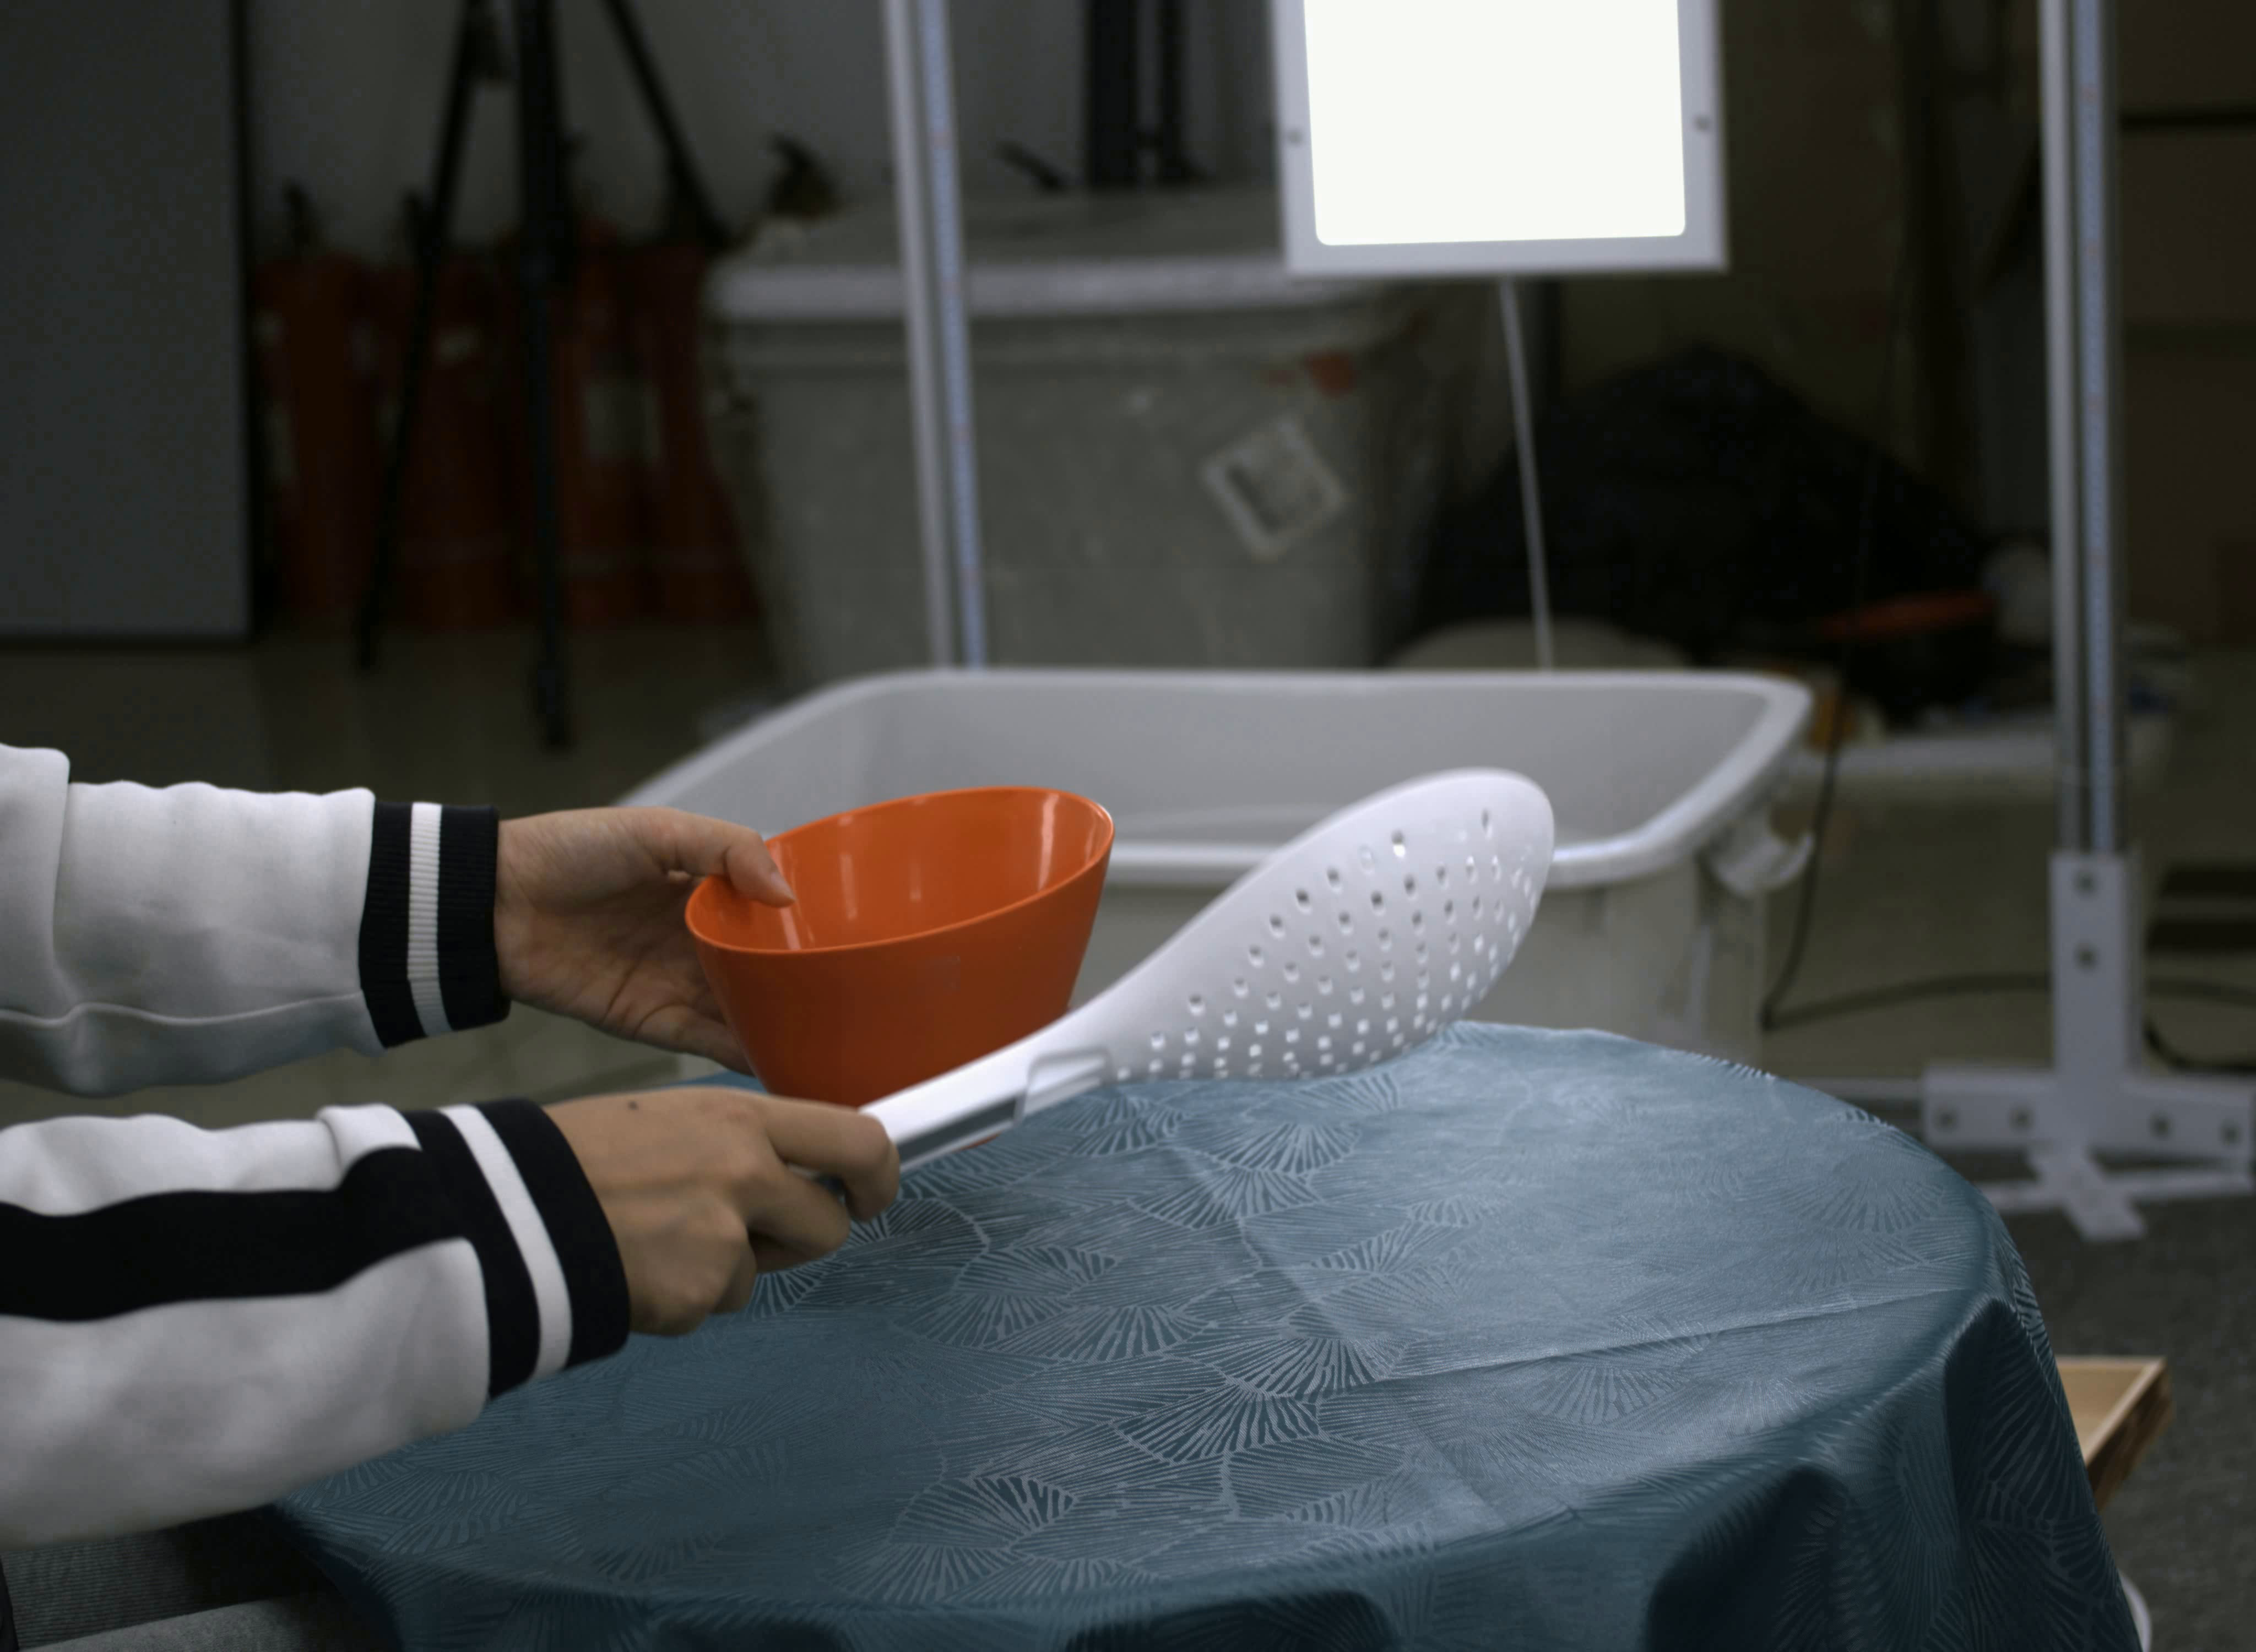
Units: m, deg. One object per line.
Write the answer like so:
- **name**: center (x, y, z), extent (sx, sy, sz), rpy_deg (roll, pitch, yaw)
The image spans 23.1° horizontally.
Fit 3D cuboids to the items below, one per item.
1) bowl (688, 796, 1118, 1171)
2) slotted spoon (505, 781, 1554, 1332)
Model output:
- **bowl**: center (-0.073, 0.056, 1.867), extent (0.147, 0.105, 0.148), rpy_deg (-5, 12, 0)
- **slotted spoon**: center (-0.023, 0.074, 1.628), extent (0.345, 0.137, 0.046), rpy_deg (-17, 61, -14)
